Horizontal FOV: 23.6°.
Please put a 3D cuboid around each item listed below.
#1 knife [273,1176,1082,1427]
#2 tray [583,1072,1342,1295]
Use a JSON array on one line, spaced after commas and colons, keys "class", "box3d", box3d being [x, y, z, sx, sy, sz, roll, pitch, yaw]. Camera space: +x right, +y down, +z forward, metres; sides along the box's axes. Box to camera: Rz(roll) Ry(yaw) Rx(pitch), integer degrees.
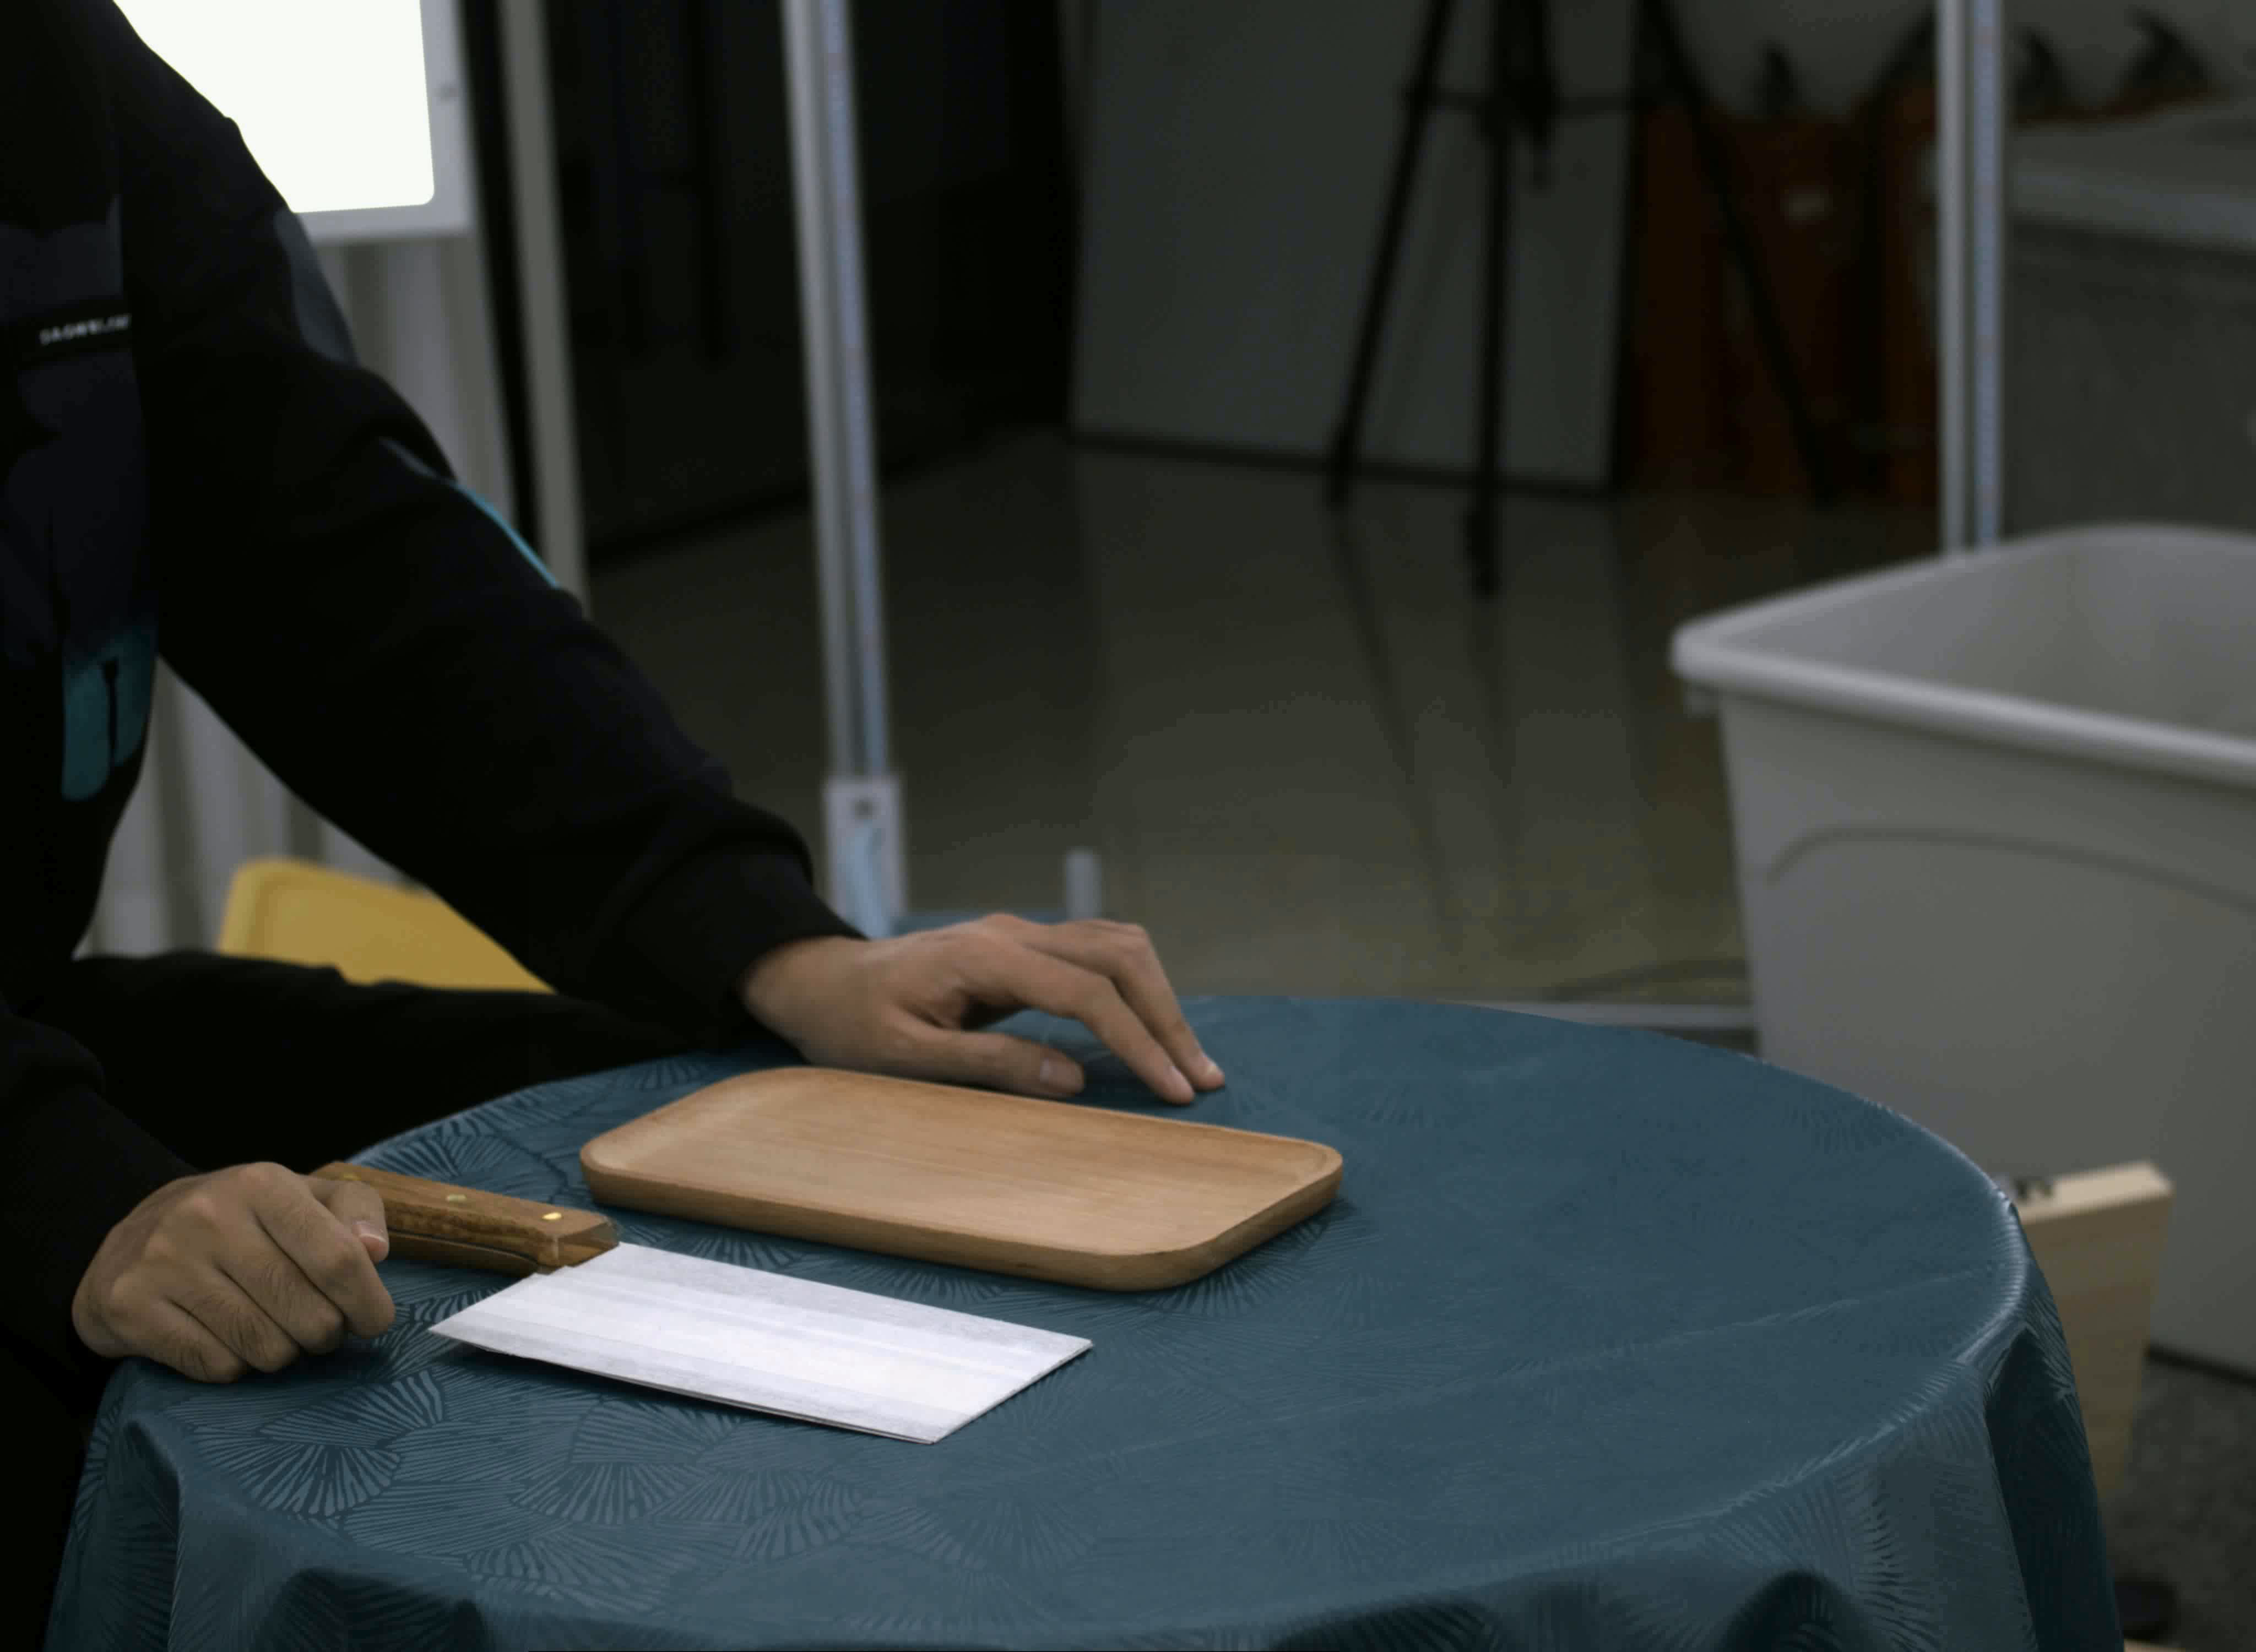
[{"class": "knife", "box3d": [-0.159, 0.150, 1.673, 0.307, 0.021, 0.091, 8, 19, 33]}, {"class": "tray", "box3d": [-0.056, 0.116, 1.776, 0.252, 0.023, 0.128, 5, 14, 37]}]
